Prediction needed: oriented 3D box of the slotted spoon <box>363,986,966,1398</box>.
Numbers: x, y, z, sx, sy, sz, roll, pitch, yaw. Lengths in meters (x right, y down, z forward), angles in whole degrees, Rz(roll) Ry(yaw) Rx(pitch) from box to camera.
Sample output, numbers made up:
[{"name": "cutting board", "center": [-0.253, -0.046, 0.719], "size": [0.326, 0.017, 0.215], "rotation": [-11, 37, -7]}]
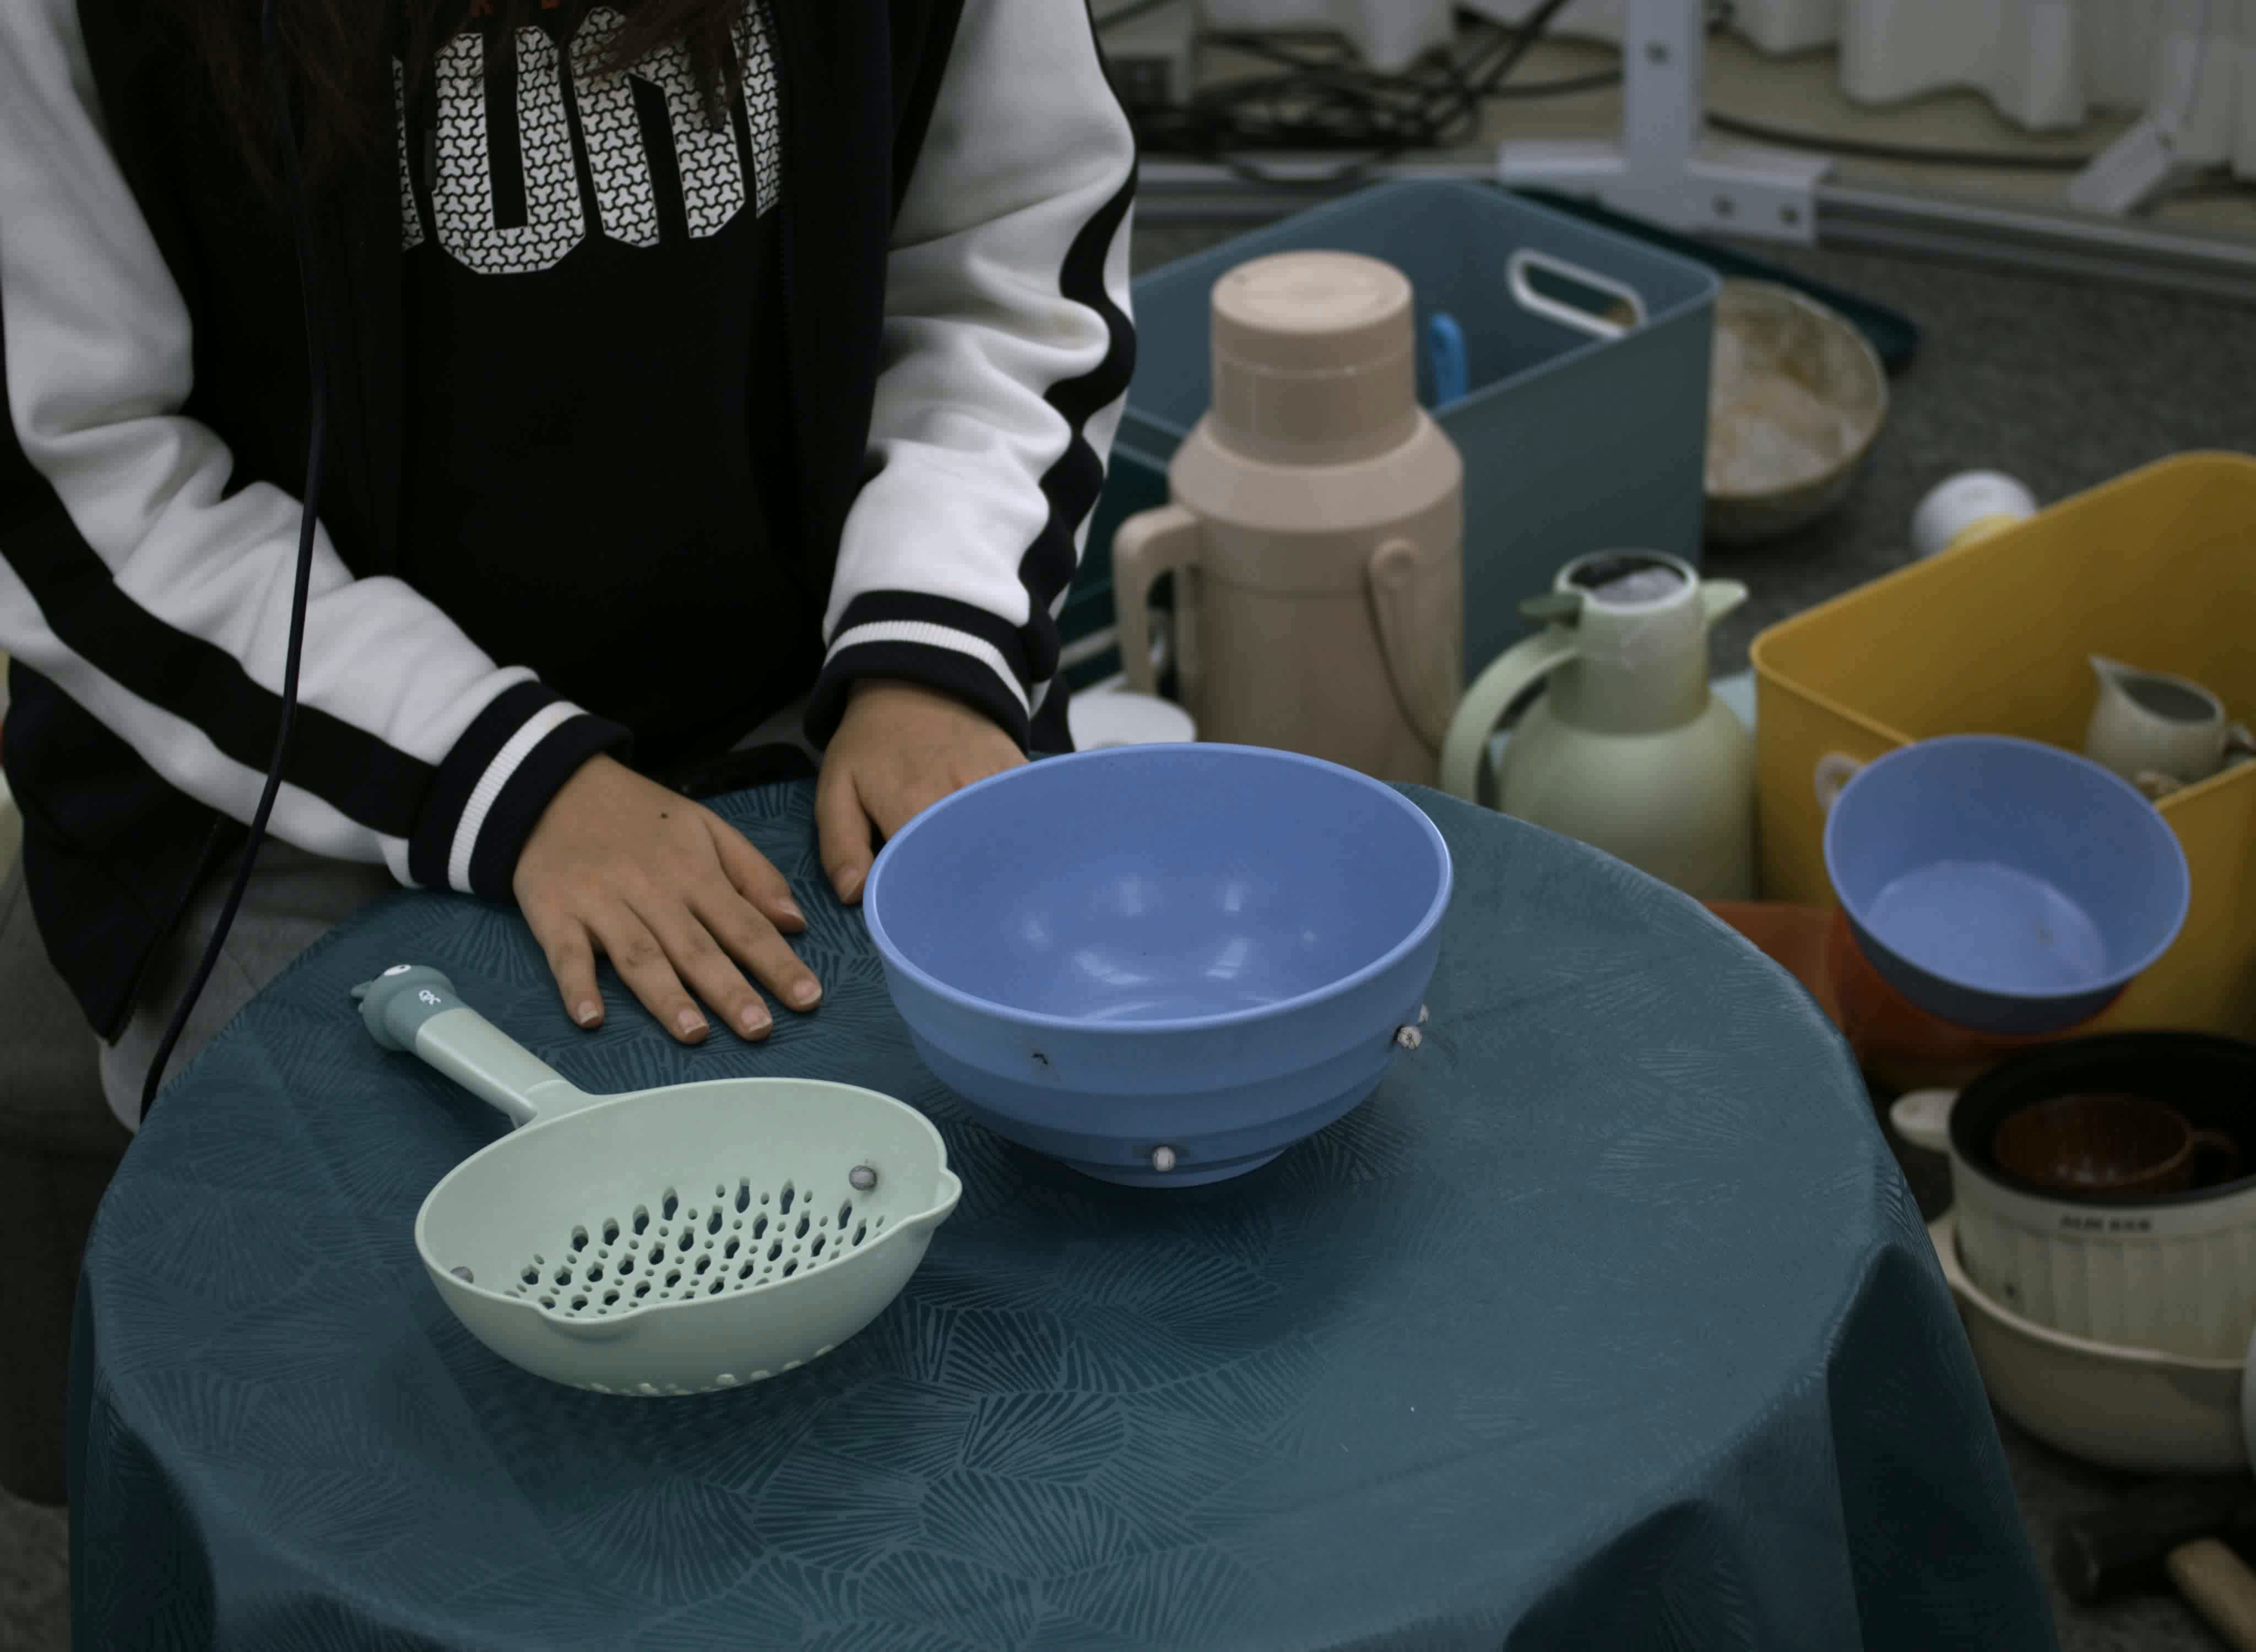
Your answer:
[{"name": "slotted spoon", "center": [-0.184, 0.104, 1.852], "size": [0.170, 0.074, 0.360], "rotation": [-16, 28, -25]}]

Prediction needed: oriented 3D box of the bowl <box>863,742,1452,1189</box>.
[{"name": "bowl", "center": [0.012, 0.058, 1.881], "size": [0.195, 0.094, 0.199], "rotation": [-2, 27, 2]}]
